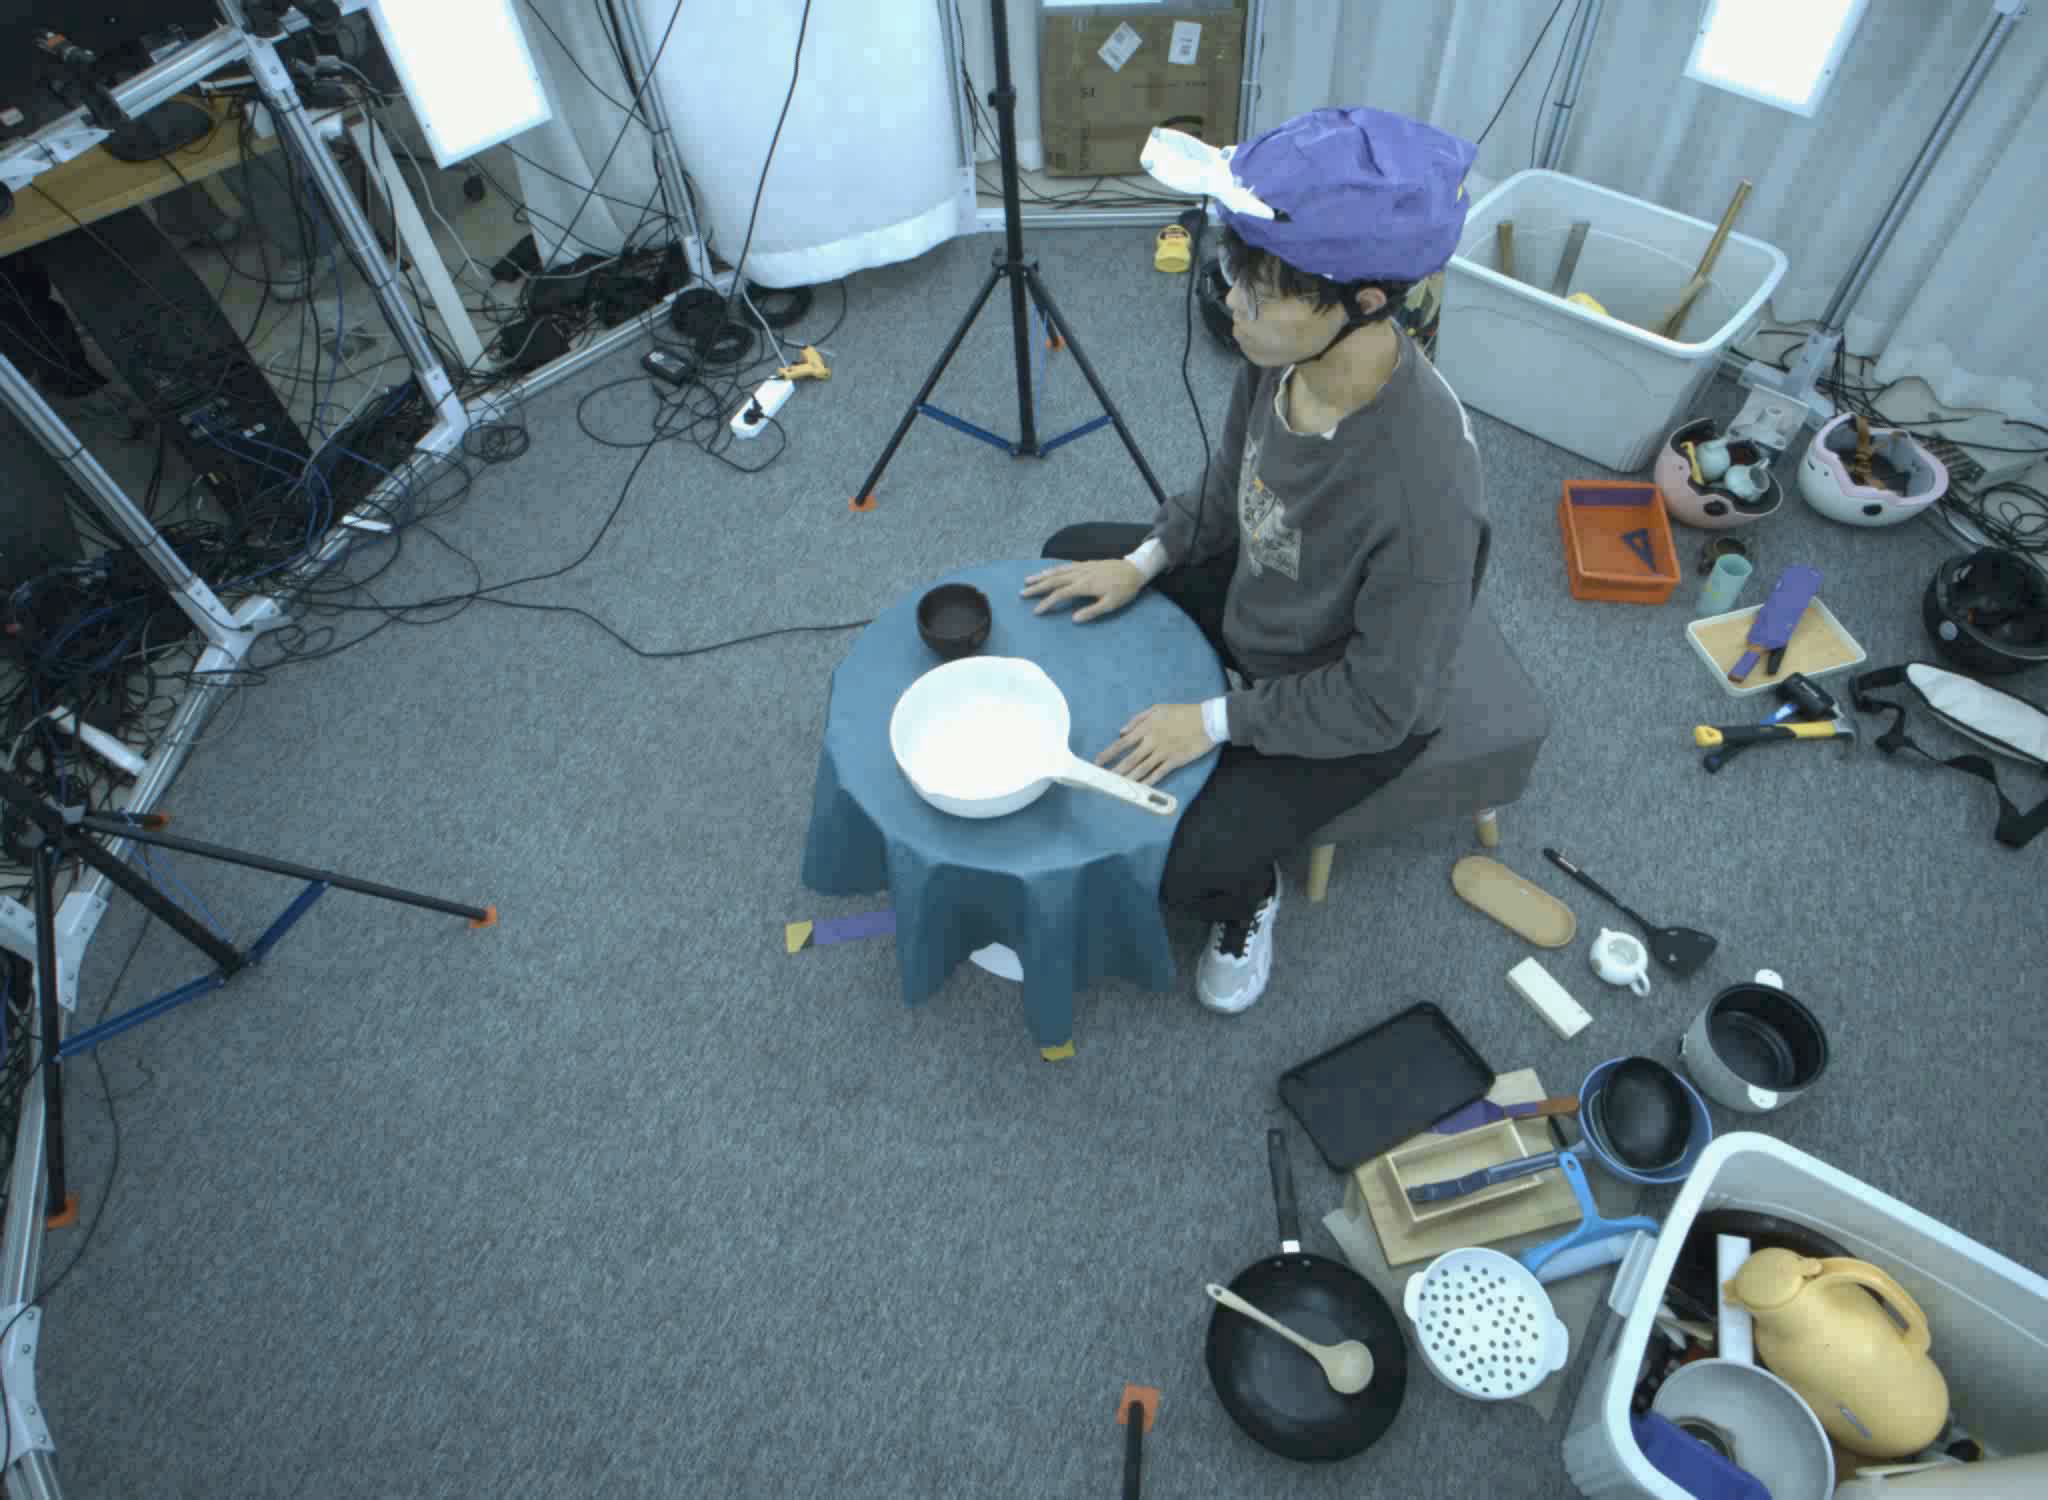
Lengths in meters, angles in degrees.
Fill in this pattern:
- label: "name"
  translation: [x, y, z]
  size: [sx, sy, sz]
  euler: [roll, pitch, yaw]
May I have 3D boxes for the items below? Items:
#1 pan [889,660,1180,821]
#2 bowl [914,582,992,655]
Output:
- label: "pan"
  translation: [0.016, 0.024, 1.706]
  size: [0.429, 0.103, 0.264]
  euler: [25, 57, 19]
- label: "bowl"
  translation: [-0.107, -0.194, 1.884]
  size: [0.118, 0.070, 0.117]
  euler: [-1, 53, 3]
